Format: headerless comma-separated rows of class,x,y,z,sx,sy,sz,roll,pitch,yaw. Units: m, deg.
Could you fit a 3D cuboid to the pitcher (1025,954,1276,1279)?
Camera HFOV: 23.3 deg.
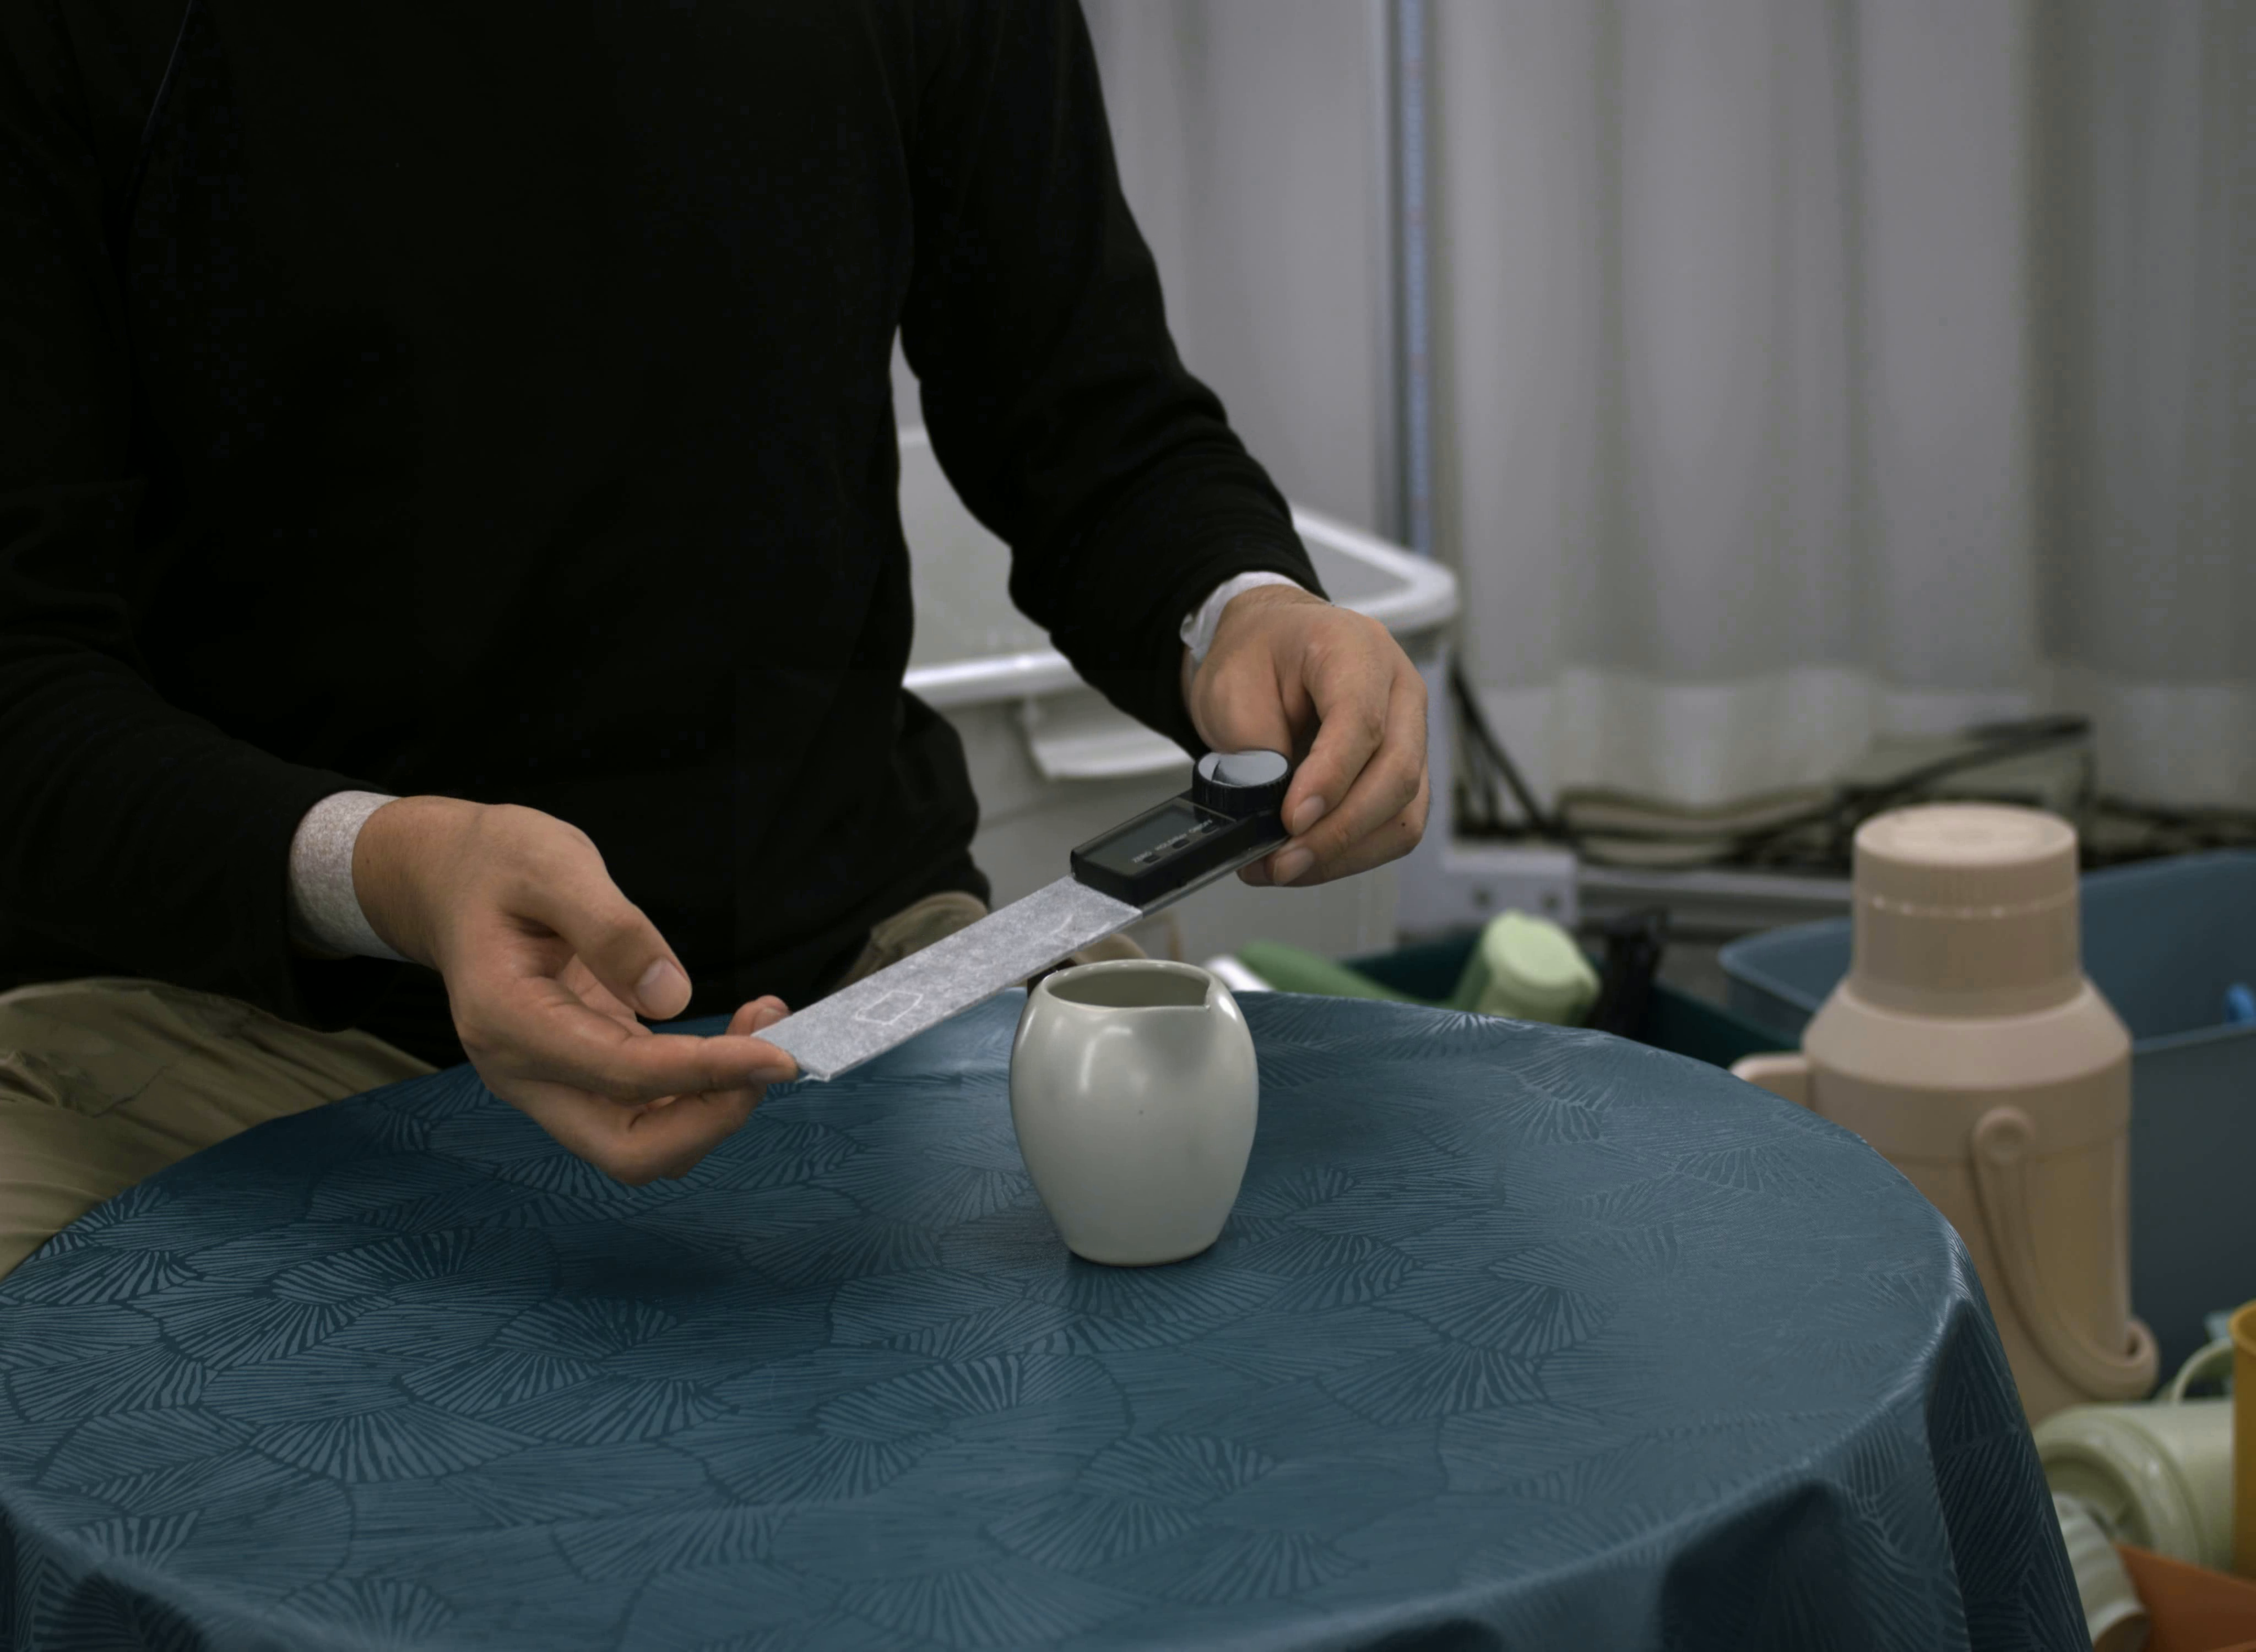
pitcher,0.004,0.086,1.654,0.075,0.087,0.120,-5,15,-22

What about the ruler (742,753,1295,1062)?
ruler,-0.028,0.022,1.675,0.038,0.024,0.218,13,28,43
